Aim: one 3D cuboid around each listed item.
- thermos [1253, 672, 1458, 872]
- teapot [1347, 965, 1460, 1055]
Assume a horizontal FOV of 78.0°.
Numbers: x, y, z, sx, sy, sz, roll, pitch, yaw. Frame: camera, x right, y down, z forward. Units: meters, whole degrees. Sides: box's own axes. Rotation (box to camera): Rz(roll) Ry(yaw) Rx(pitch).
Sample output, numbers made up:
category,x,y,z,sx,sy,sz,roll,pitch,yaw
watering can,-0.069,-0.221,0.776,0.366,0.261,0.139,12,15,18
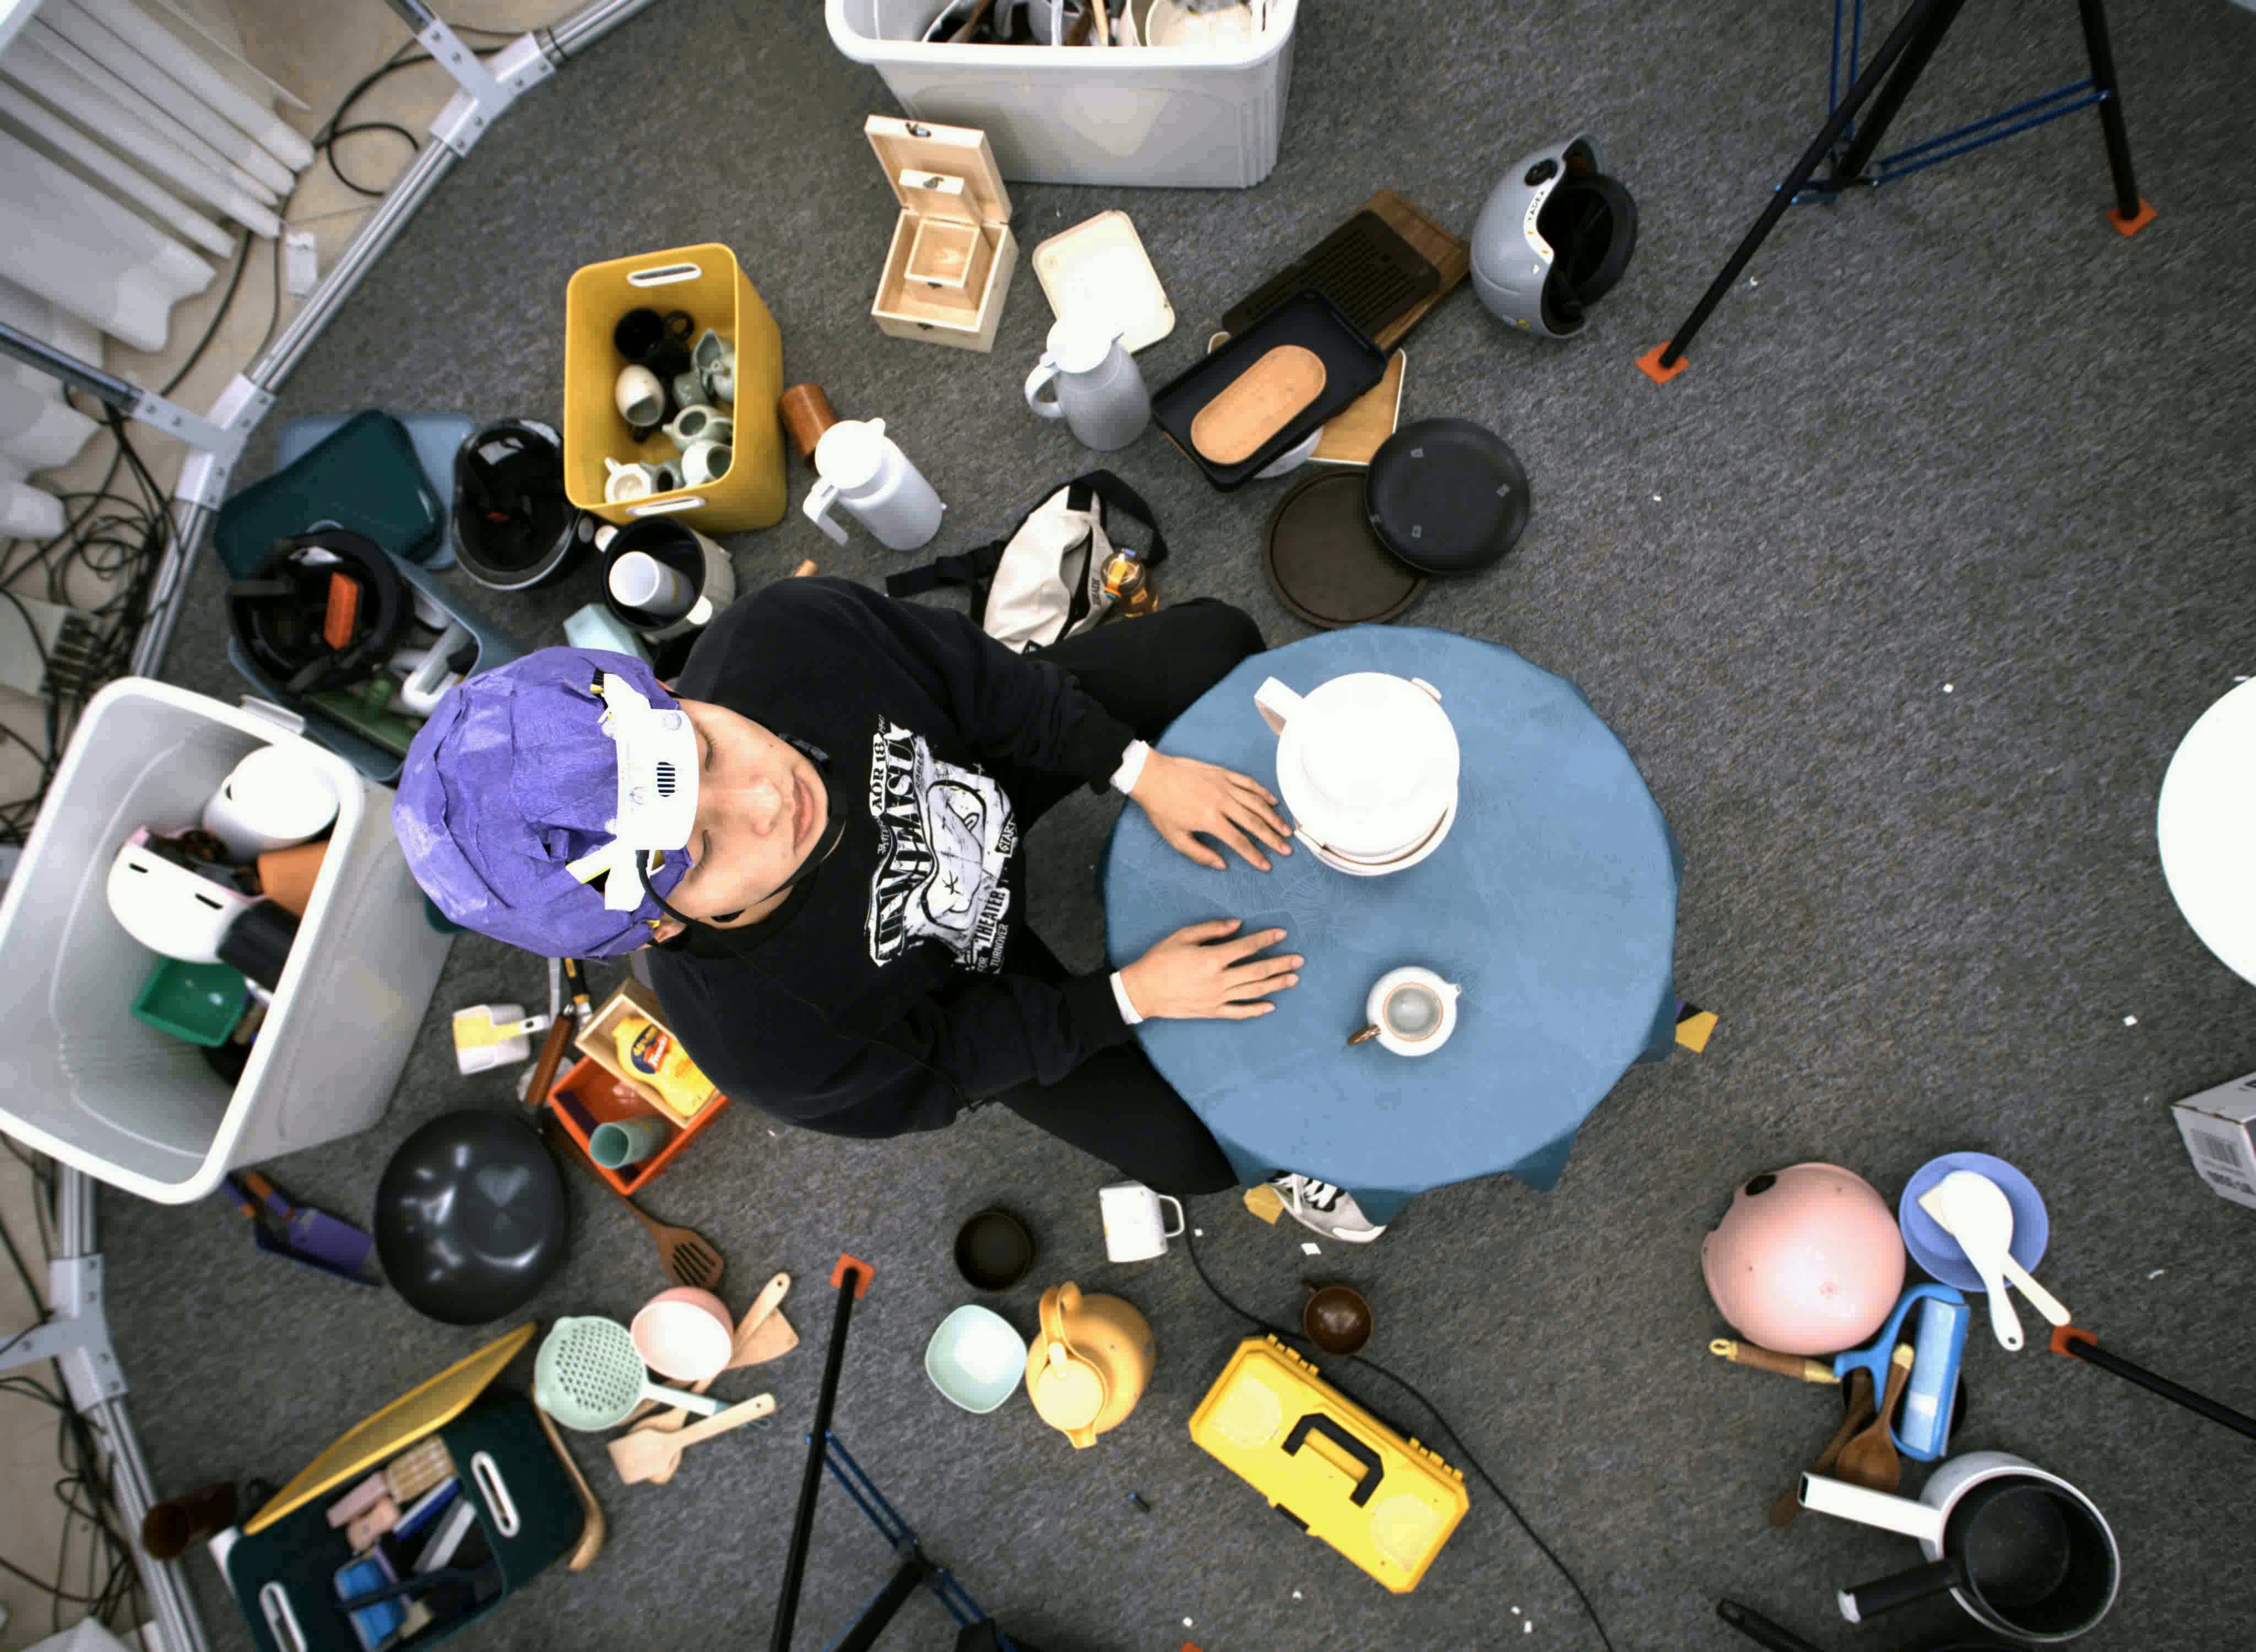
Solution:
category,x,y,z,sx,sy,sz,roll,pitch,yaw
thermos,0.210,-0.057,1.278,0.206,0.406,0.176,37,94,11
teapot,0.283,0.193,1.423,0.129,0.059,0.091,-30,84,6
